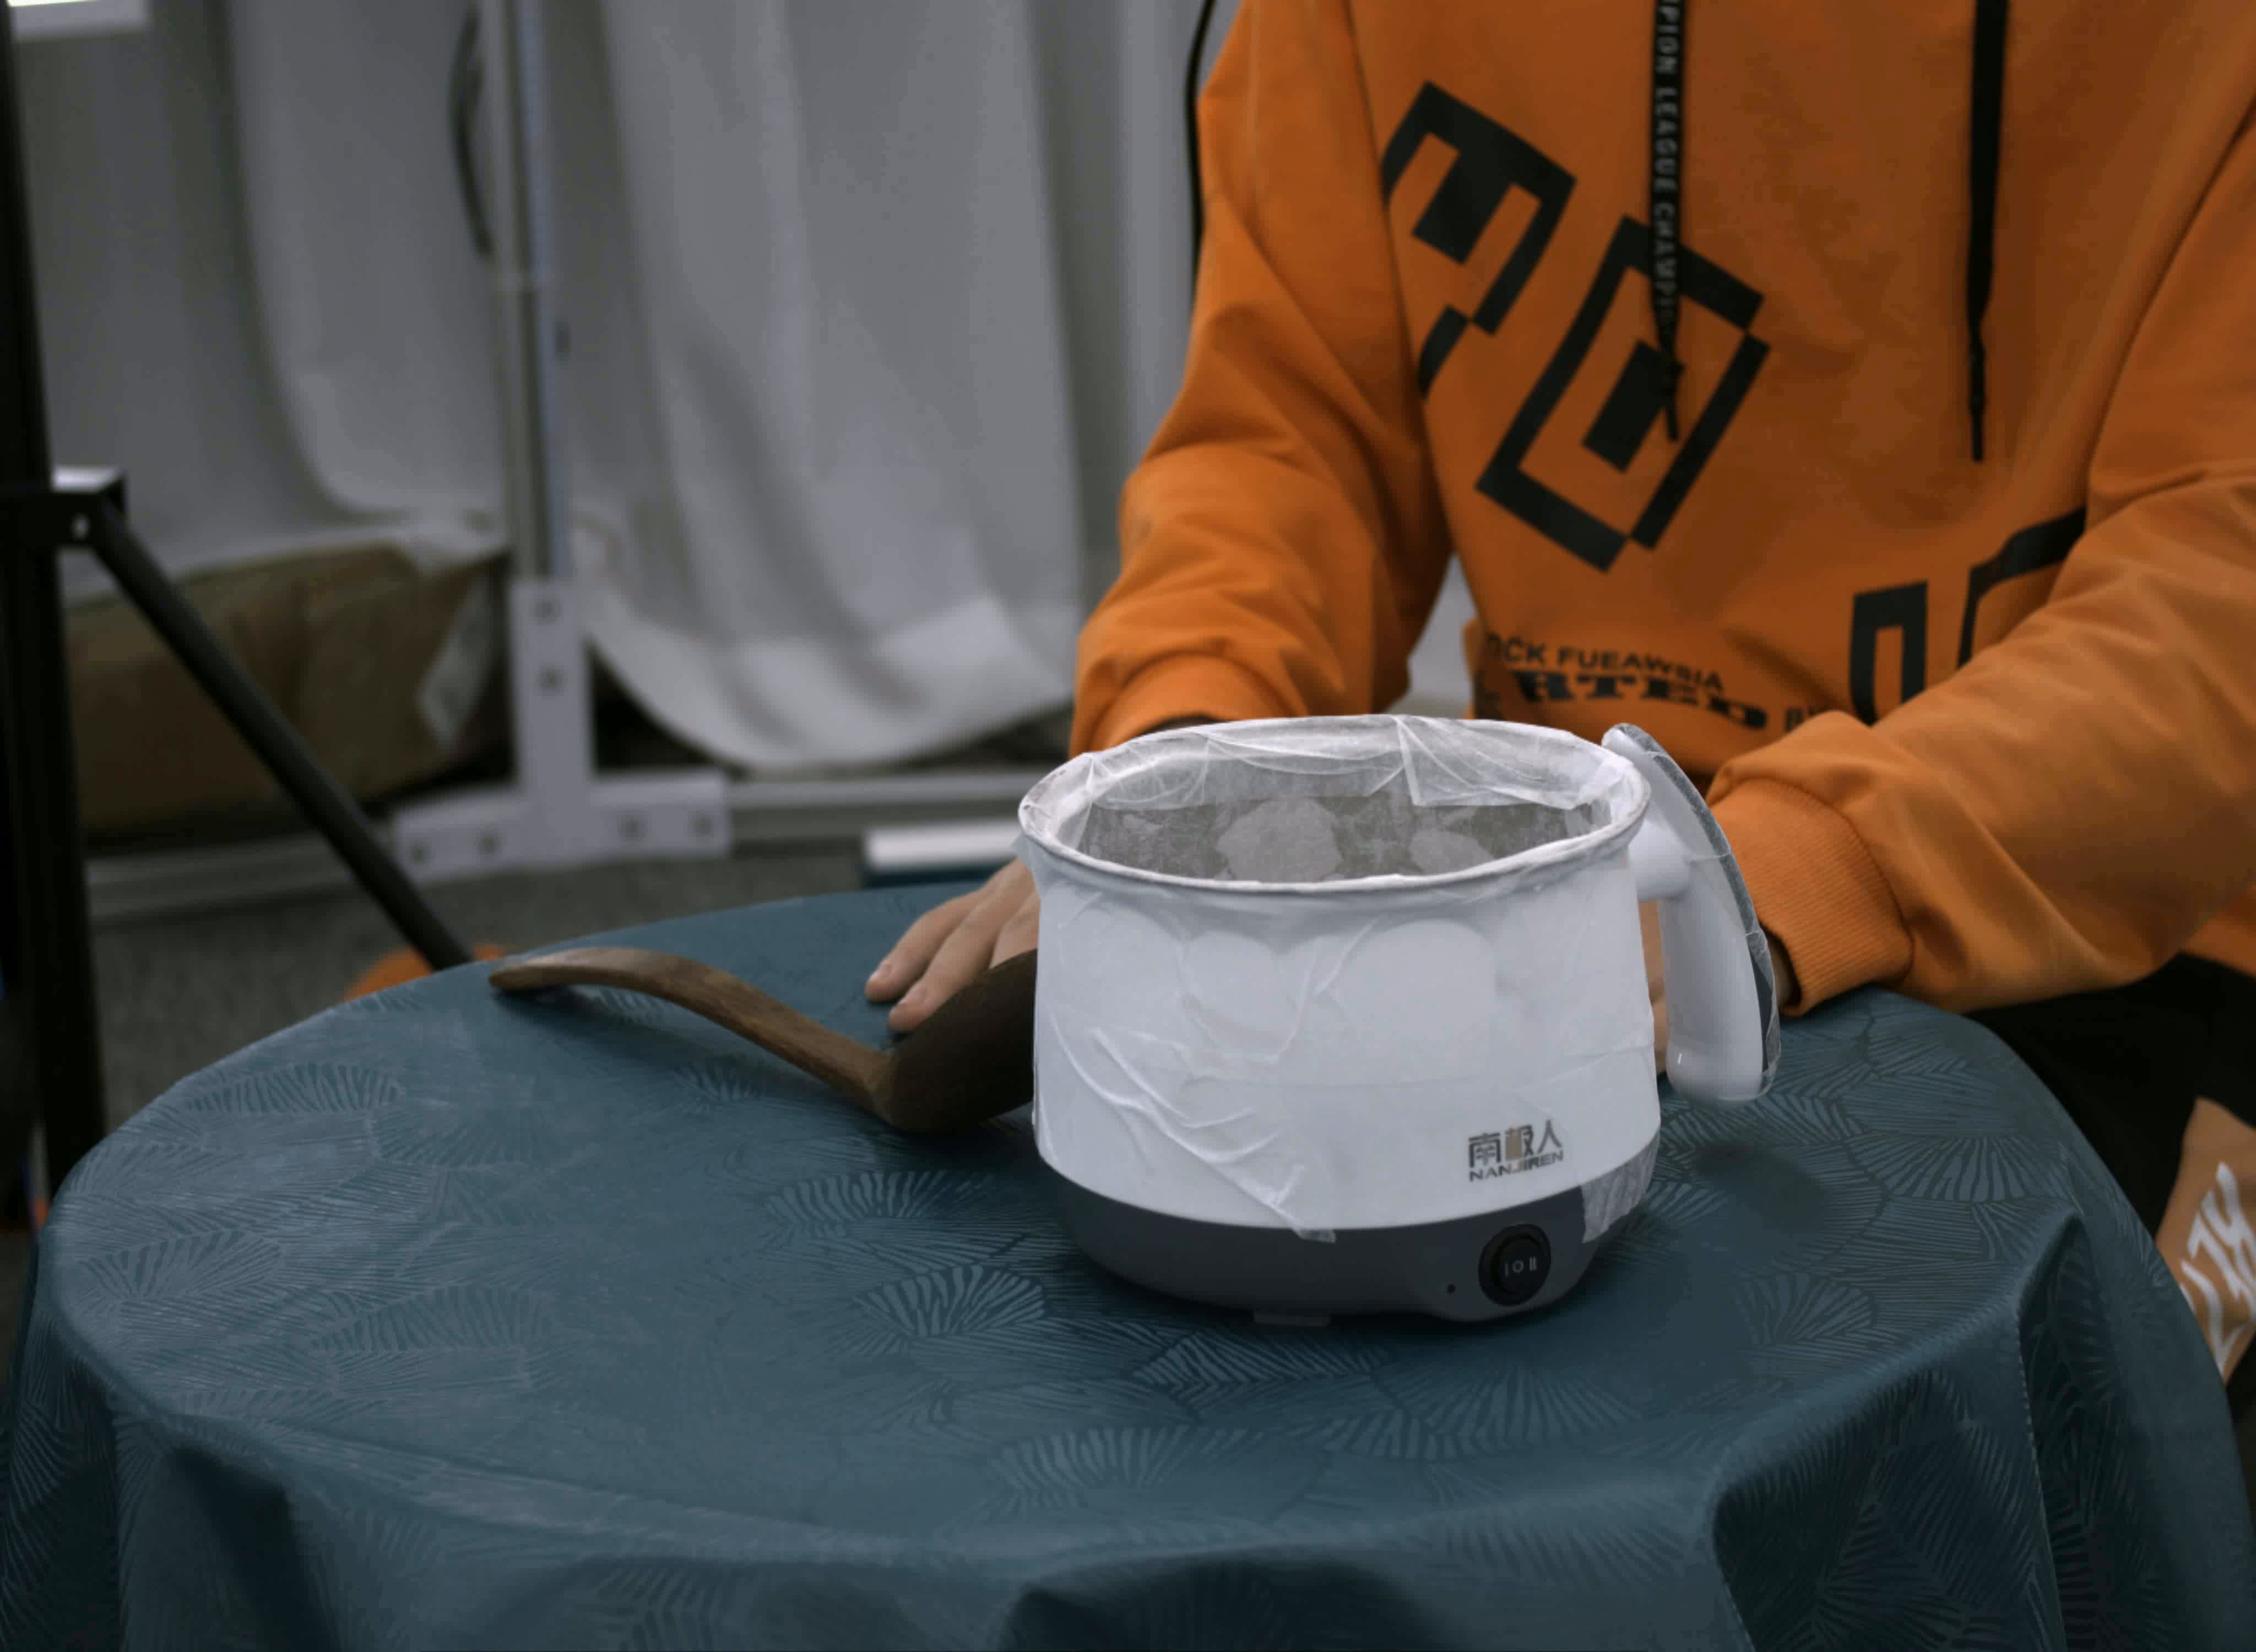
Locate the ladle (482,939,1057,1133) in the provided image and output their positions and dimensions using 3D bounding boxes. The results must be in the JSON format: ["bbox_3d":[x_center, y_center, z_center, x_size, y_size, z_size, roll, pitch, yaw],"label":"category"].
[{"bbox_3d":[-0.116,0.044,1.676,0.074,0.071,0.280,-12,18,-40],"label":"ladle"}]

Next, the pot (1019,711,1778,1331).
[{"bbox_3d":[0.084,0.048,1.504,0.228,0.136,0.182,-11,18,-28],"label":"pot"}]
